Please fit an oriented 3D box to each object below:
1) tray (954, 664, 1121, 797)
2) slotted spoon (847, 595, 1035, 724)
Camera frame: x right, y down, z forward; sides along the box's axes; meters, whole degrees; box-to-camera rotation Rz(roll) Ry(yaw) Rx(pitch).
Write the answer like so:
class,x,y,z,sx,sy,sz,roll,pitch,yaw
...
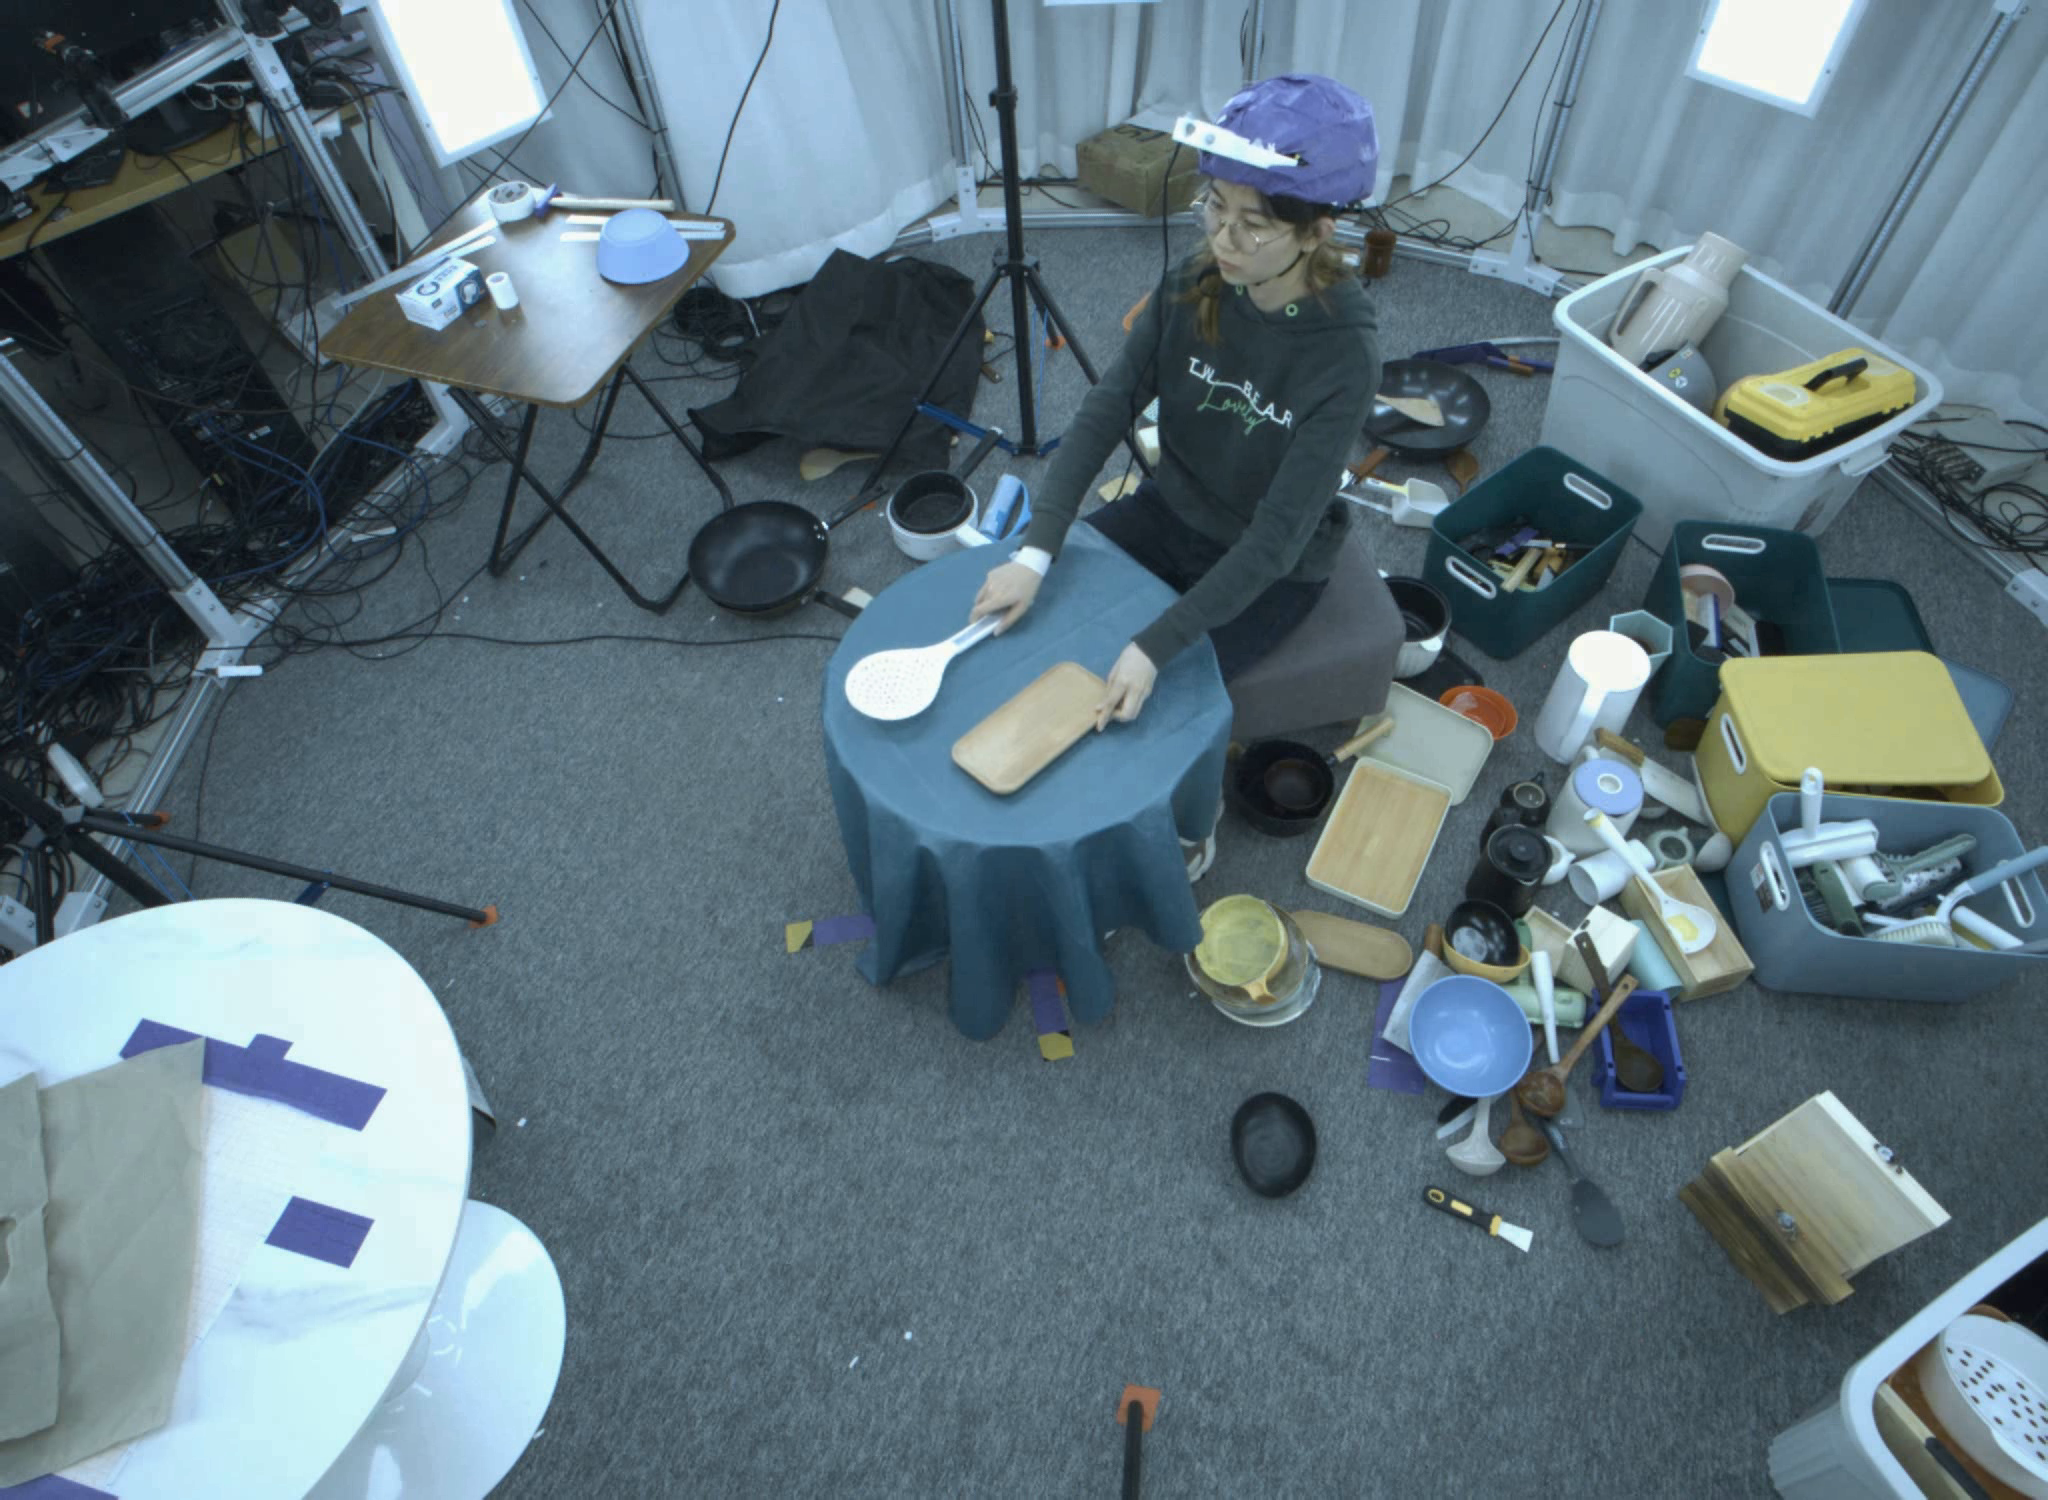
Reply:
class,x,y,z,sx,sy,sz,roll,pitch,yaw
tray,0.021,-0.031,1.803,0.252,0.023,0.128,-38,59,-23
slotted spoon,-0.117,-0.147,1.876,0.352,0.046,0.134,-39,65,-23
